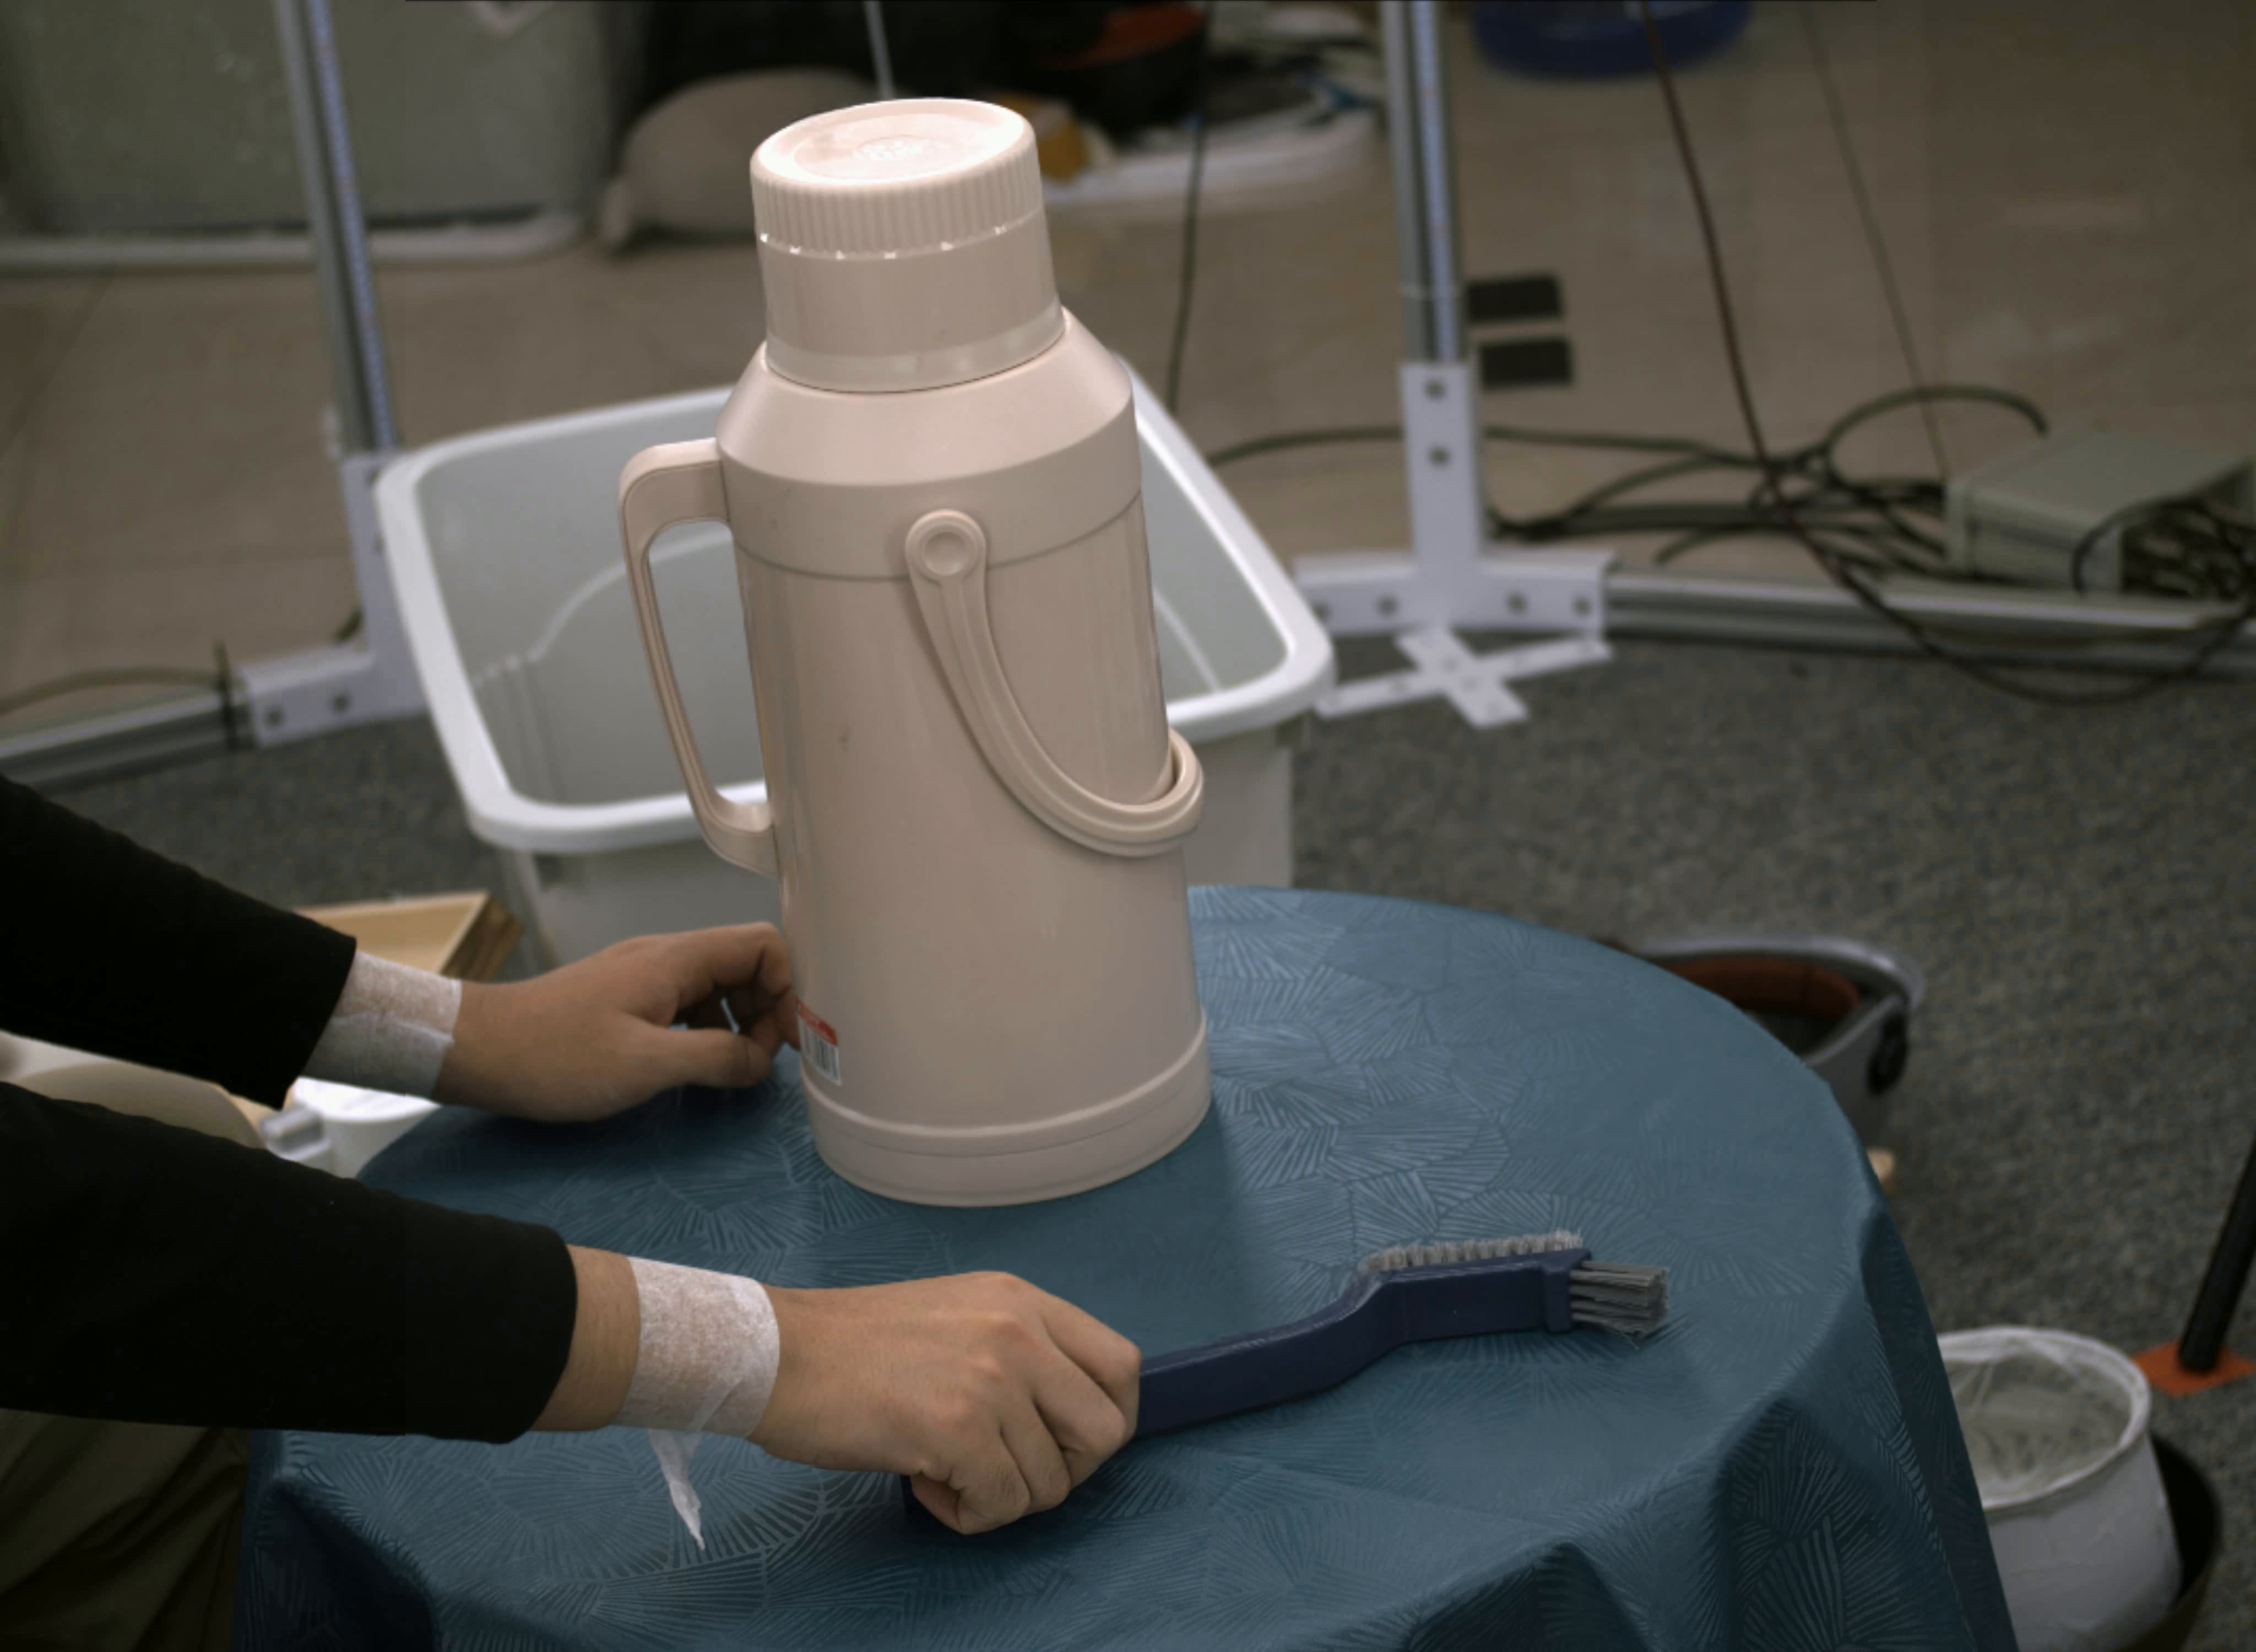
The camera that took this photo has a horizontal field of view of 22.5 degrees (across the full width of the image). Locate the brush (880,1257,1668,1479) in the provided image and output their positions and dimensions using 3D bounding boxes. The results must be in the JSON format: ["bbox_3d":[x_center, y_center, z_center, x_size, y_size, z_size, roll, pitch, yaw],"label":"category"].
[{"bbox_3d":[0.050,0.190,1.986,0.272,0.034,0.094,-15,25,-22],"label":"brush"}]

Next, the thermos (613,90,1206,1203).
[{"bbox_3d":[-0.081,-0.067,2.132,0.206,0.413,0.172,-8,27,-3],"label":"thermos"}]
